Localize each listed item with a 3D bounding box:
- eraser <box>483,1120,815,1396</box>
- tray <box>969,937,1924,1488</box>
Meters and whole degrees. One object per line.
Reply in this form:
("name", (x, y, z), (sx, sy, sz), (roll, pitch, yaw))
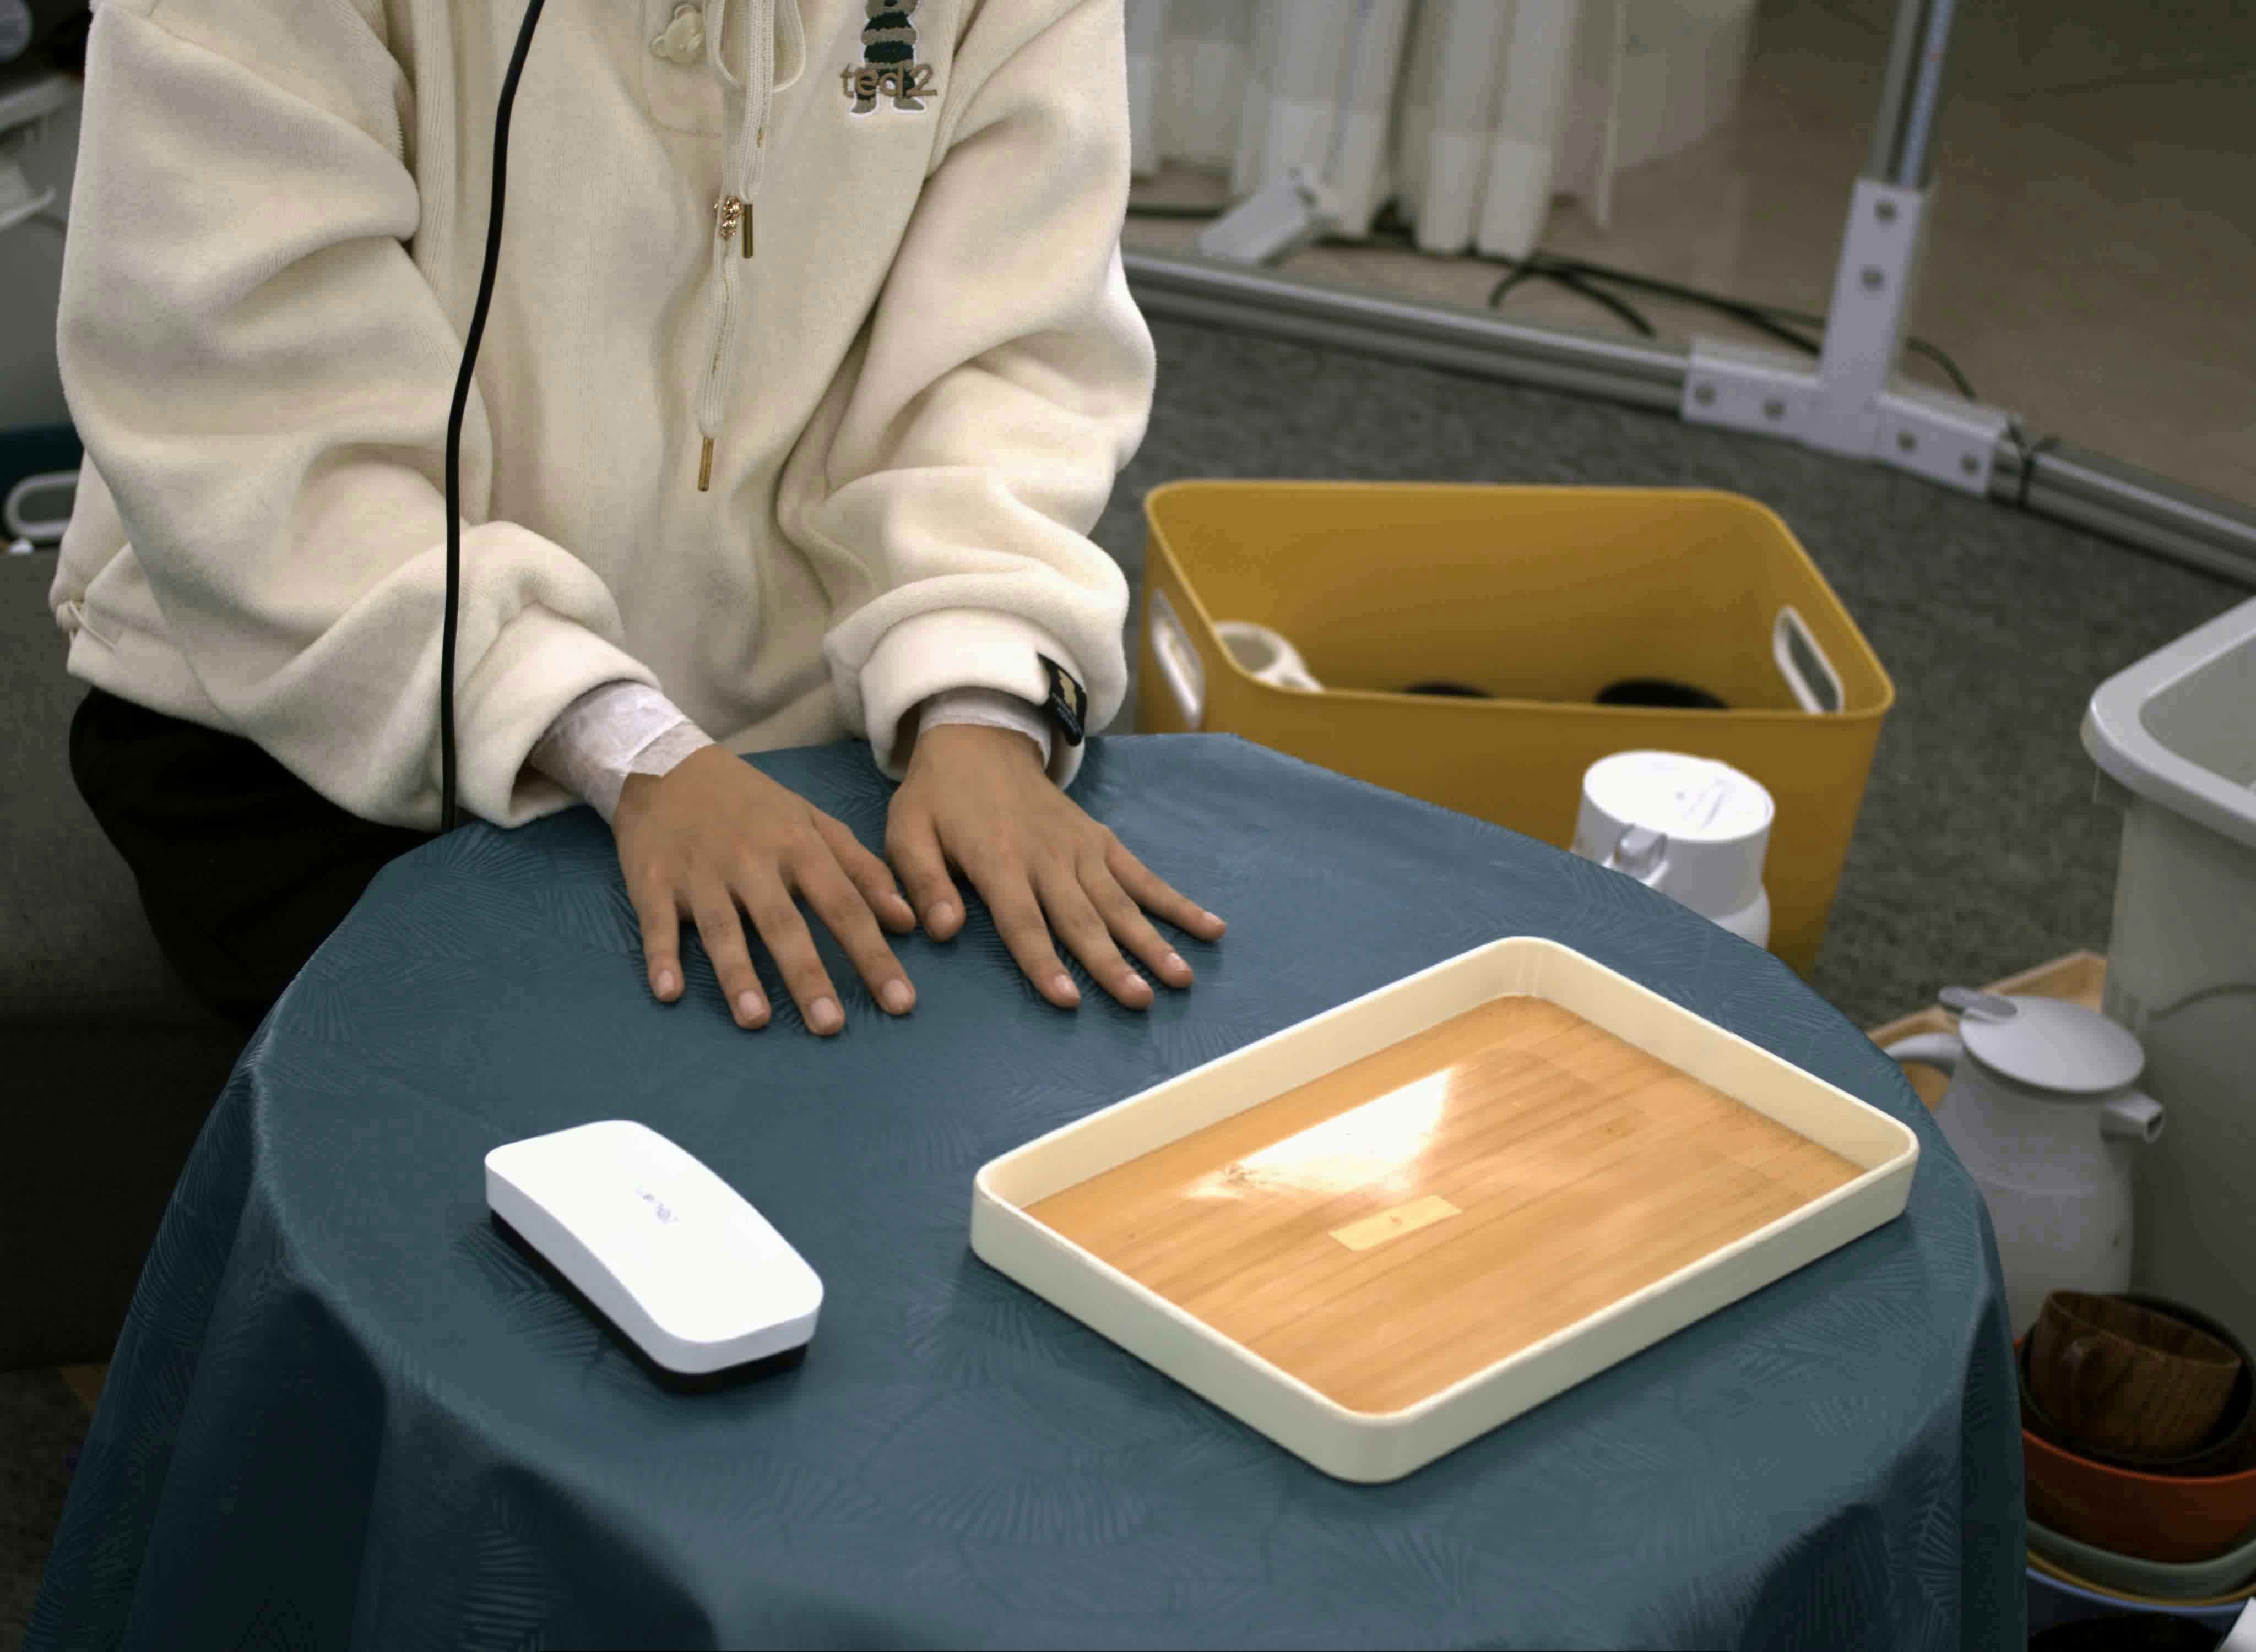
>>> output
("eraser", (-0.154, 0.135, 1.712), (0.063, 0.034, 0.132), (-12, 33, -33))
("tray", (0.111, 0.124, 1.796), (0.193, 0.027, 0.299), (29, 34, 36))
